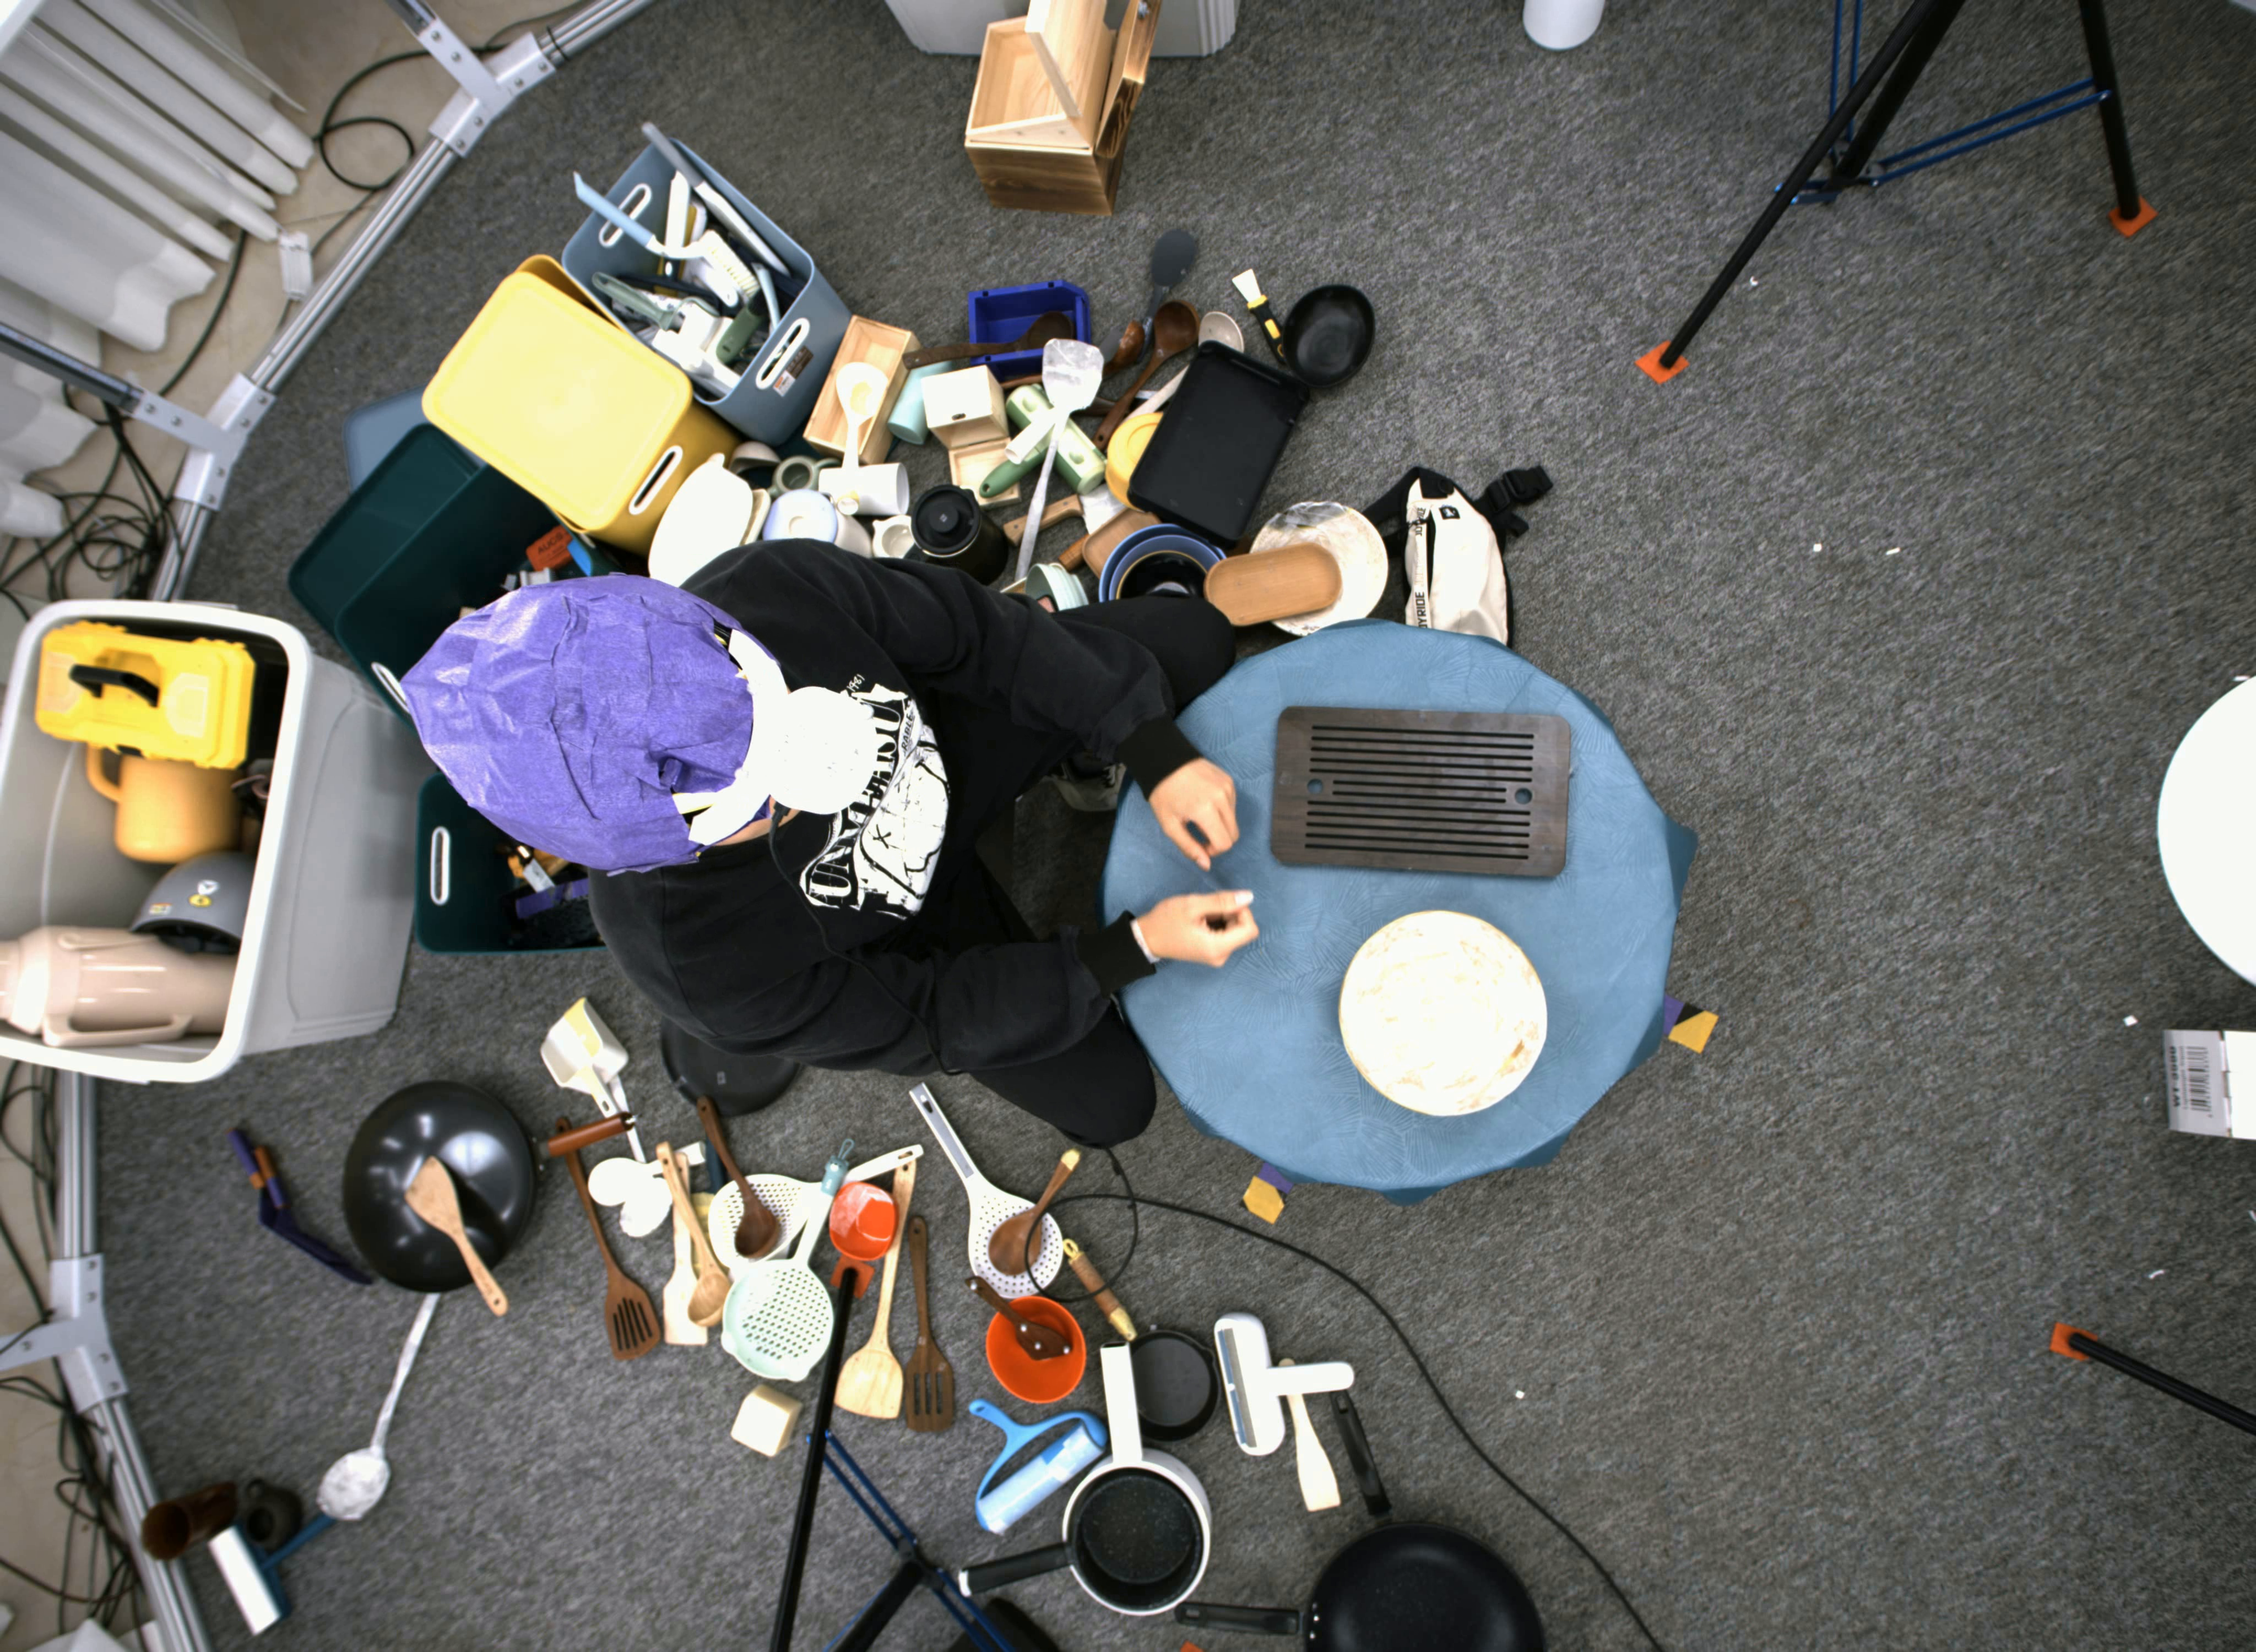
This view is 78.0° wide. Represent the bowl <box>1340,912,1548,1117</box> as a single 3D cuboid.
[{"bbox_3d":[0.316,0.184,1.401,0.215,0.094,0.214,-1,86,11],"label":"bowl"}]

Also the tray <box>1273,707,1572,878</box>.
[{"bbox_3d":[0.310,-0.039,1.456,0.307,0.018,0.169,3,87,11],"label":"tray"}]
